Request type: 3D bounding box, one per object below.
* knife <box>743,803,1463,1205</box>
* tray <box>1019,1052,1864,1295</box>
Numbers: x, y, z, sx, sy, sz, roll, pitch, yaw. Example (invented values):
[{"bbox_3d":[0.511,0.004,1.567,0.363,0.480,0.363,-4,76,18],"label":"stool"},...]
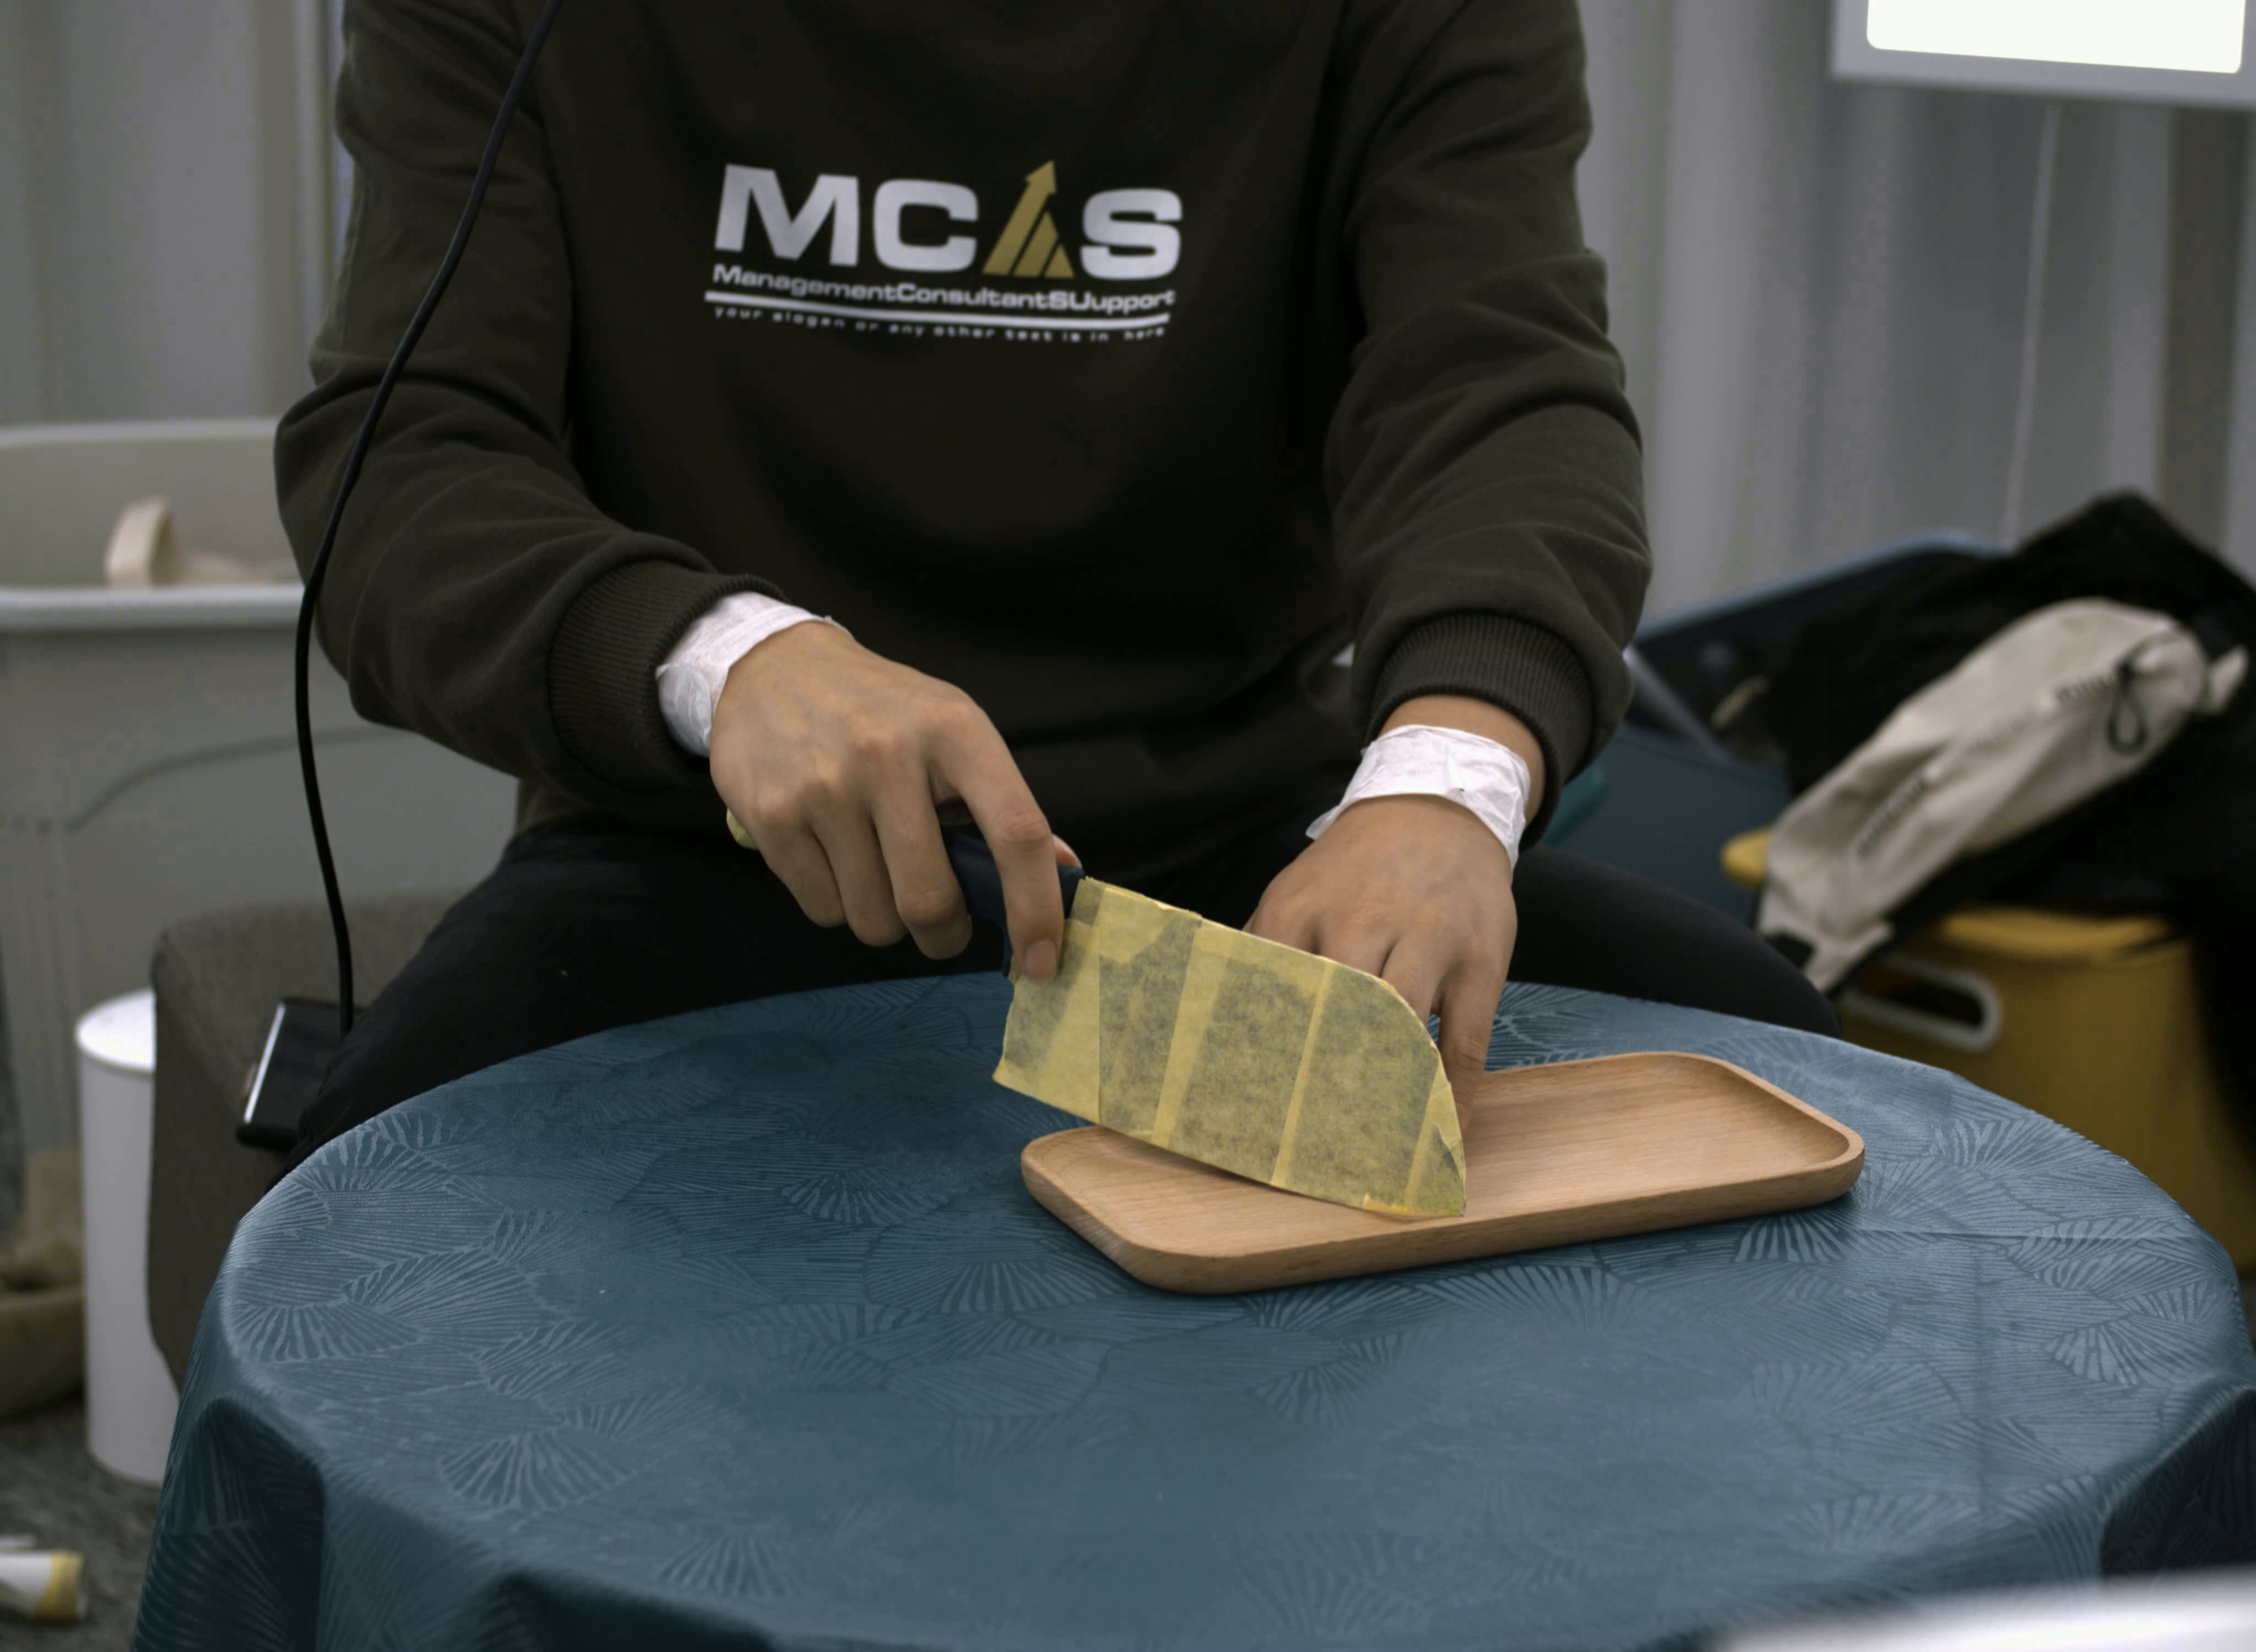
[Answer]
[{"bbox_3d":[-0.012,0.052,1.639,0.285,0.081,0.027,22,9,33],"label":"knife"},{"bbox_3d":[0.097,0.106,1.621,0.251,0.023,0.129,-7,14,-23],"label":"tray"}]
